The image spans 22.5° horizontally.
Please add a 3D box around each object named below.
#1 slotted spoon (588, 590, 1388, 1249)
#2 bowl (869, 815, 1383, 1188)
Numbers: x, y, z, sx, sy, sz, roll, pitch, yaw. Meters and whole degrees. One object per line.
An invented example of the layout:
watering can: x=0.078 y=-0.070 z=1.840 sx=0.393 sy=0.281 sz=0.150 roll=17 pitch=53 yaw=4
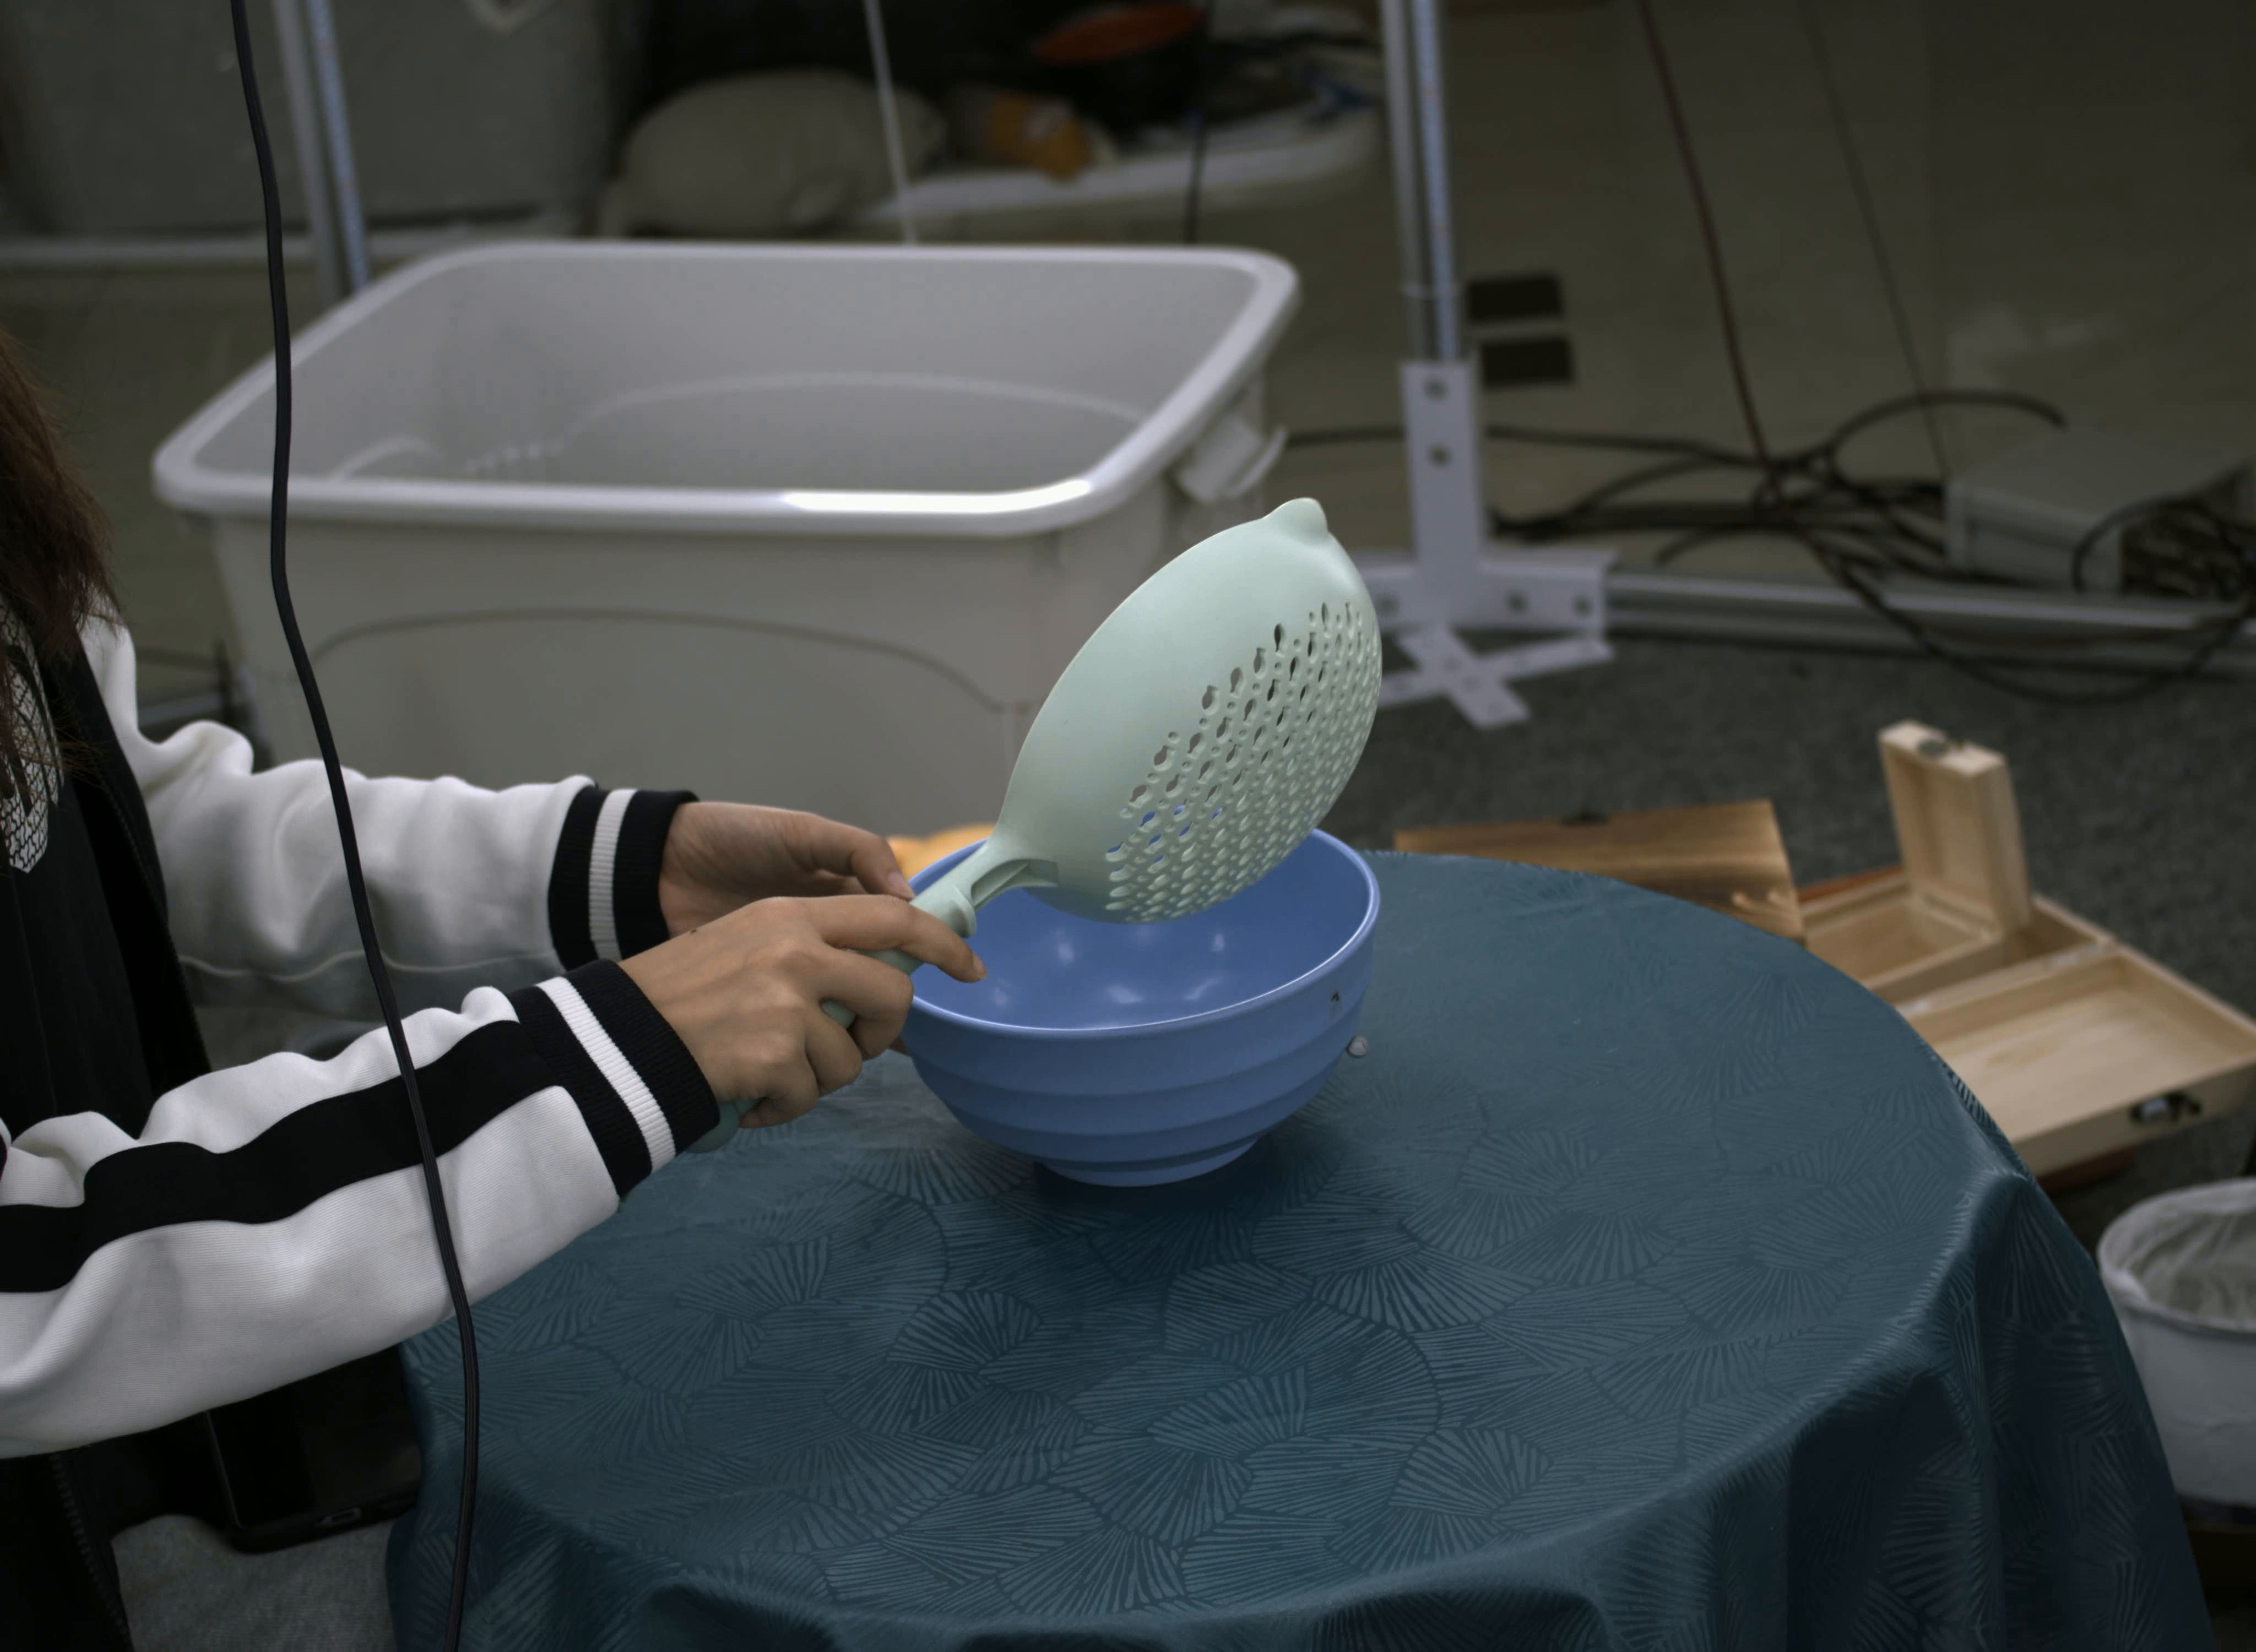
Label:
slotted spoon: x=-0.050 y=0.035 z=2.007 sx=0.357 sy=0.075 sz=0.171 roll=-27 pitch=-11 yaw=-16
bowl: x=0.004 y=0.076 z=2.170 sx=0.196 sy=0.097 sz=0.193 roll=-5 pitch=26 yaw=3
